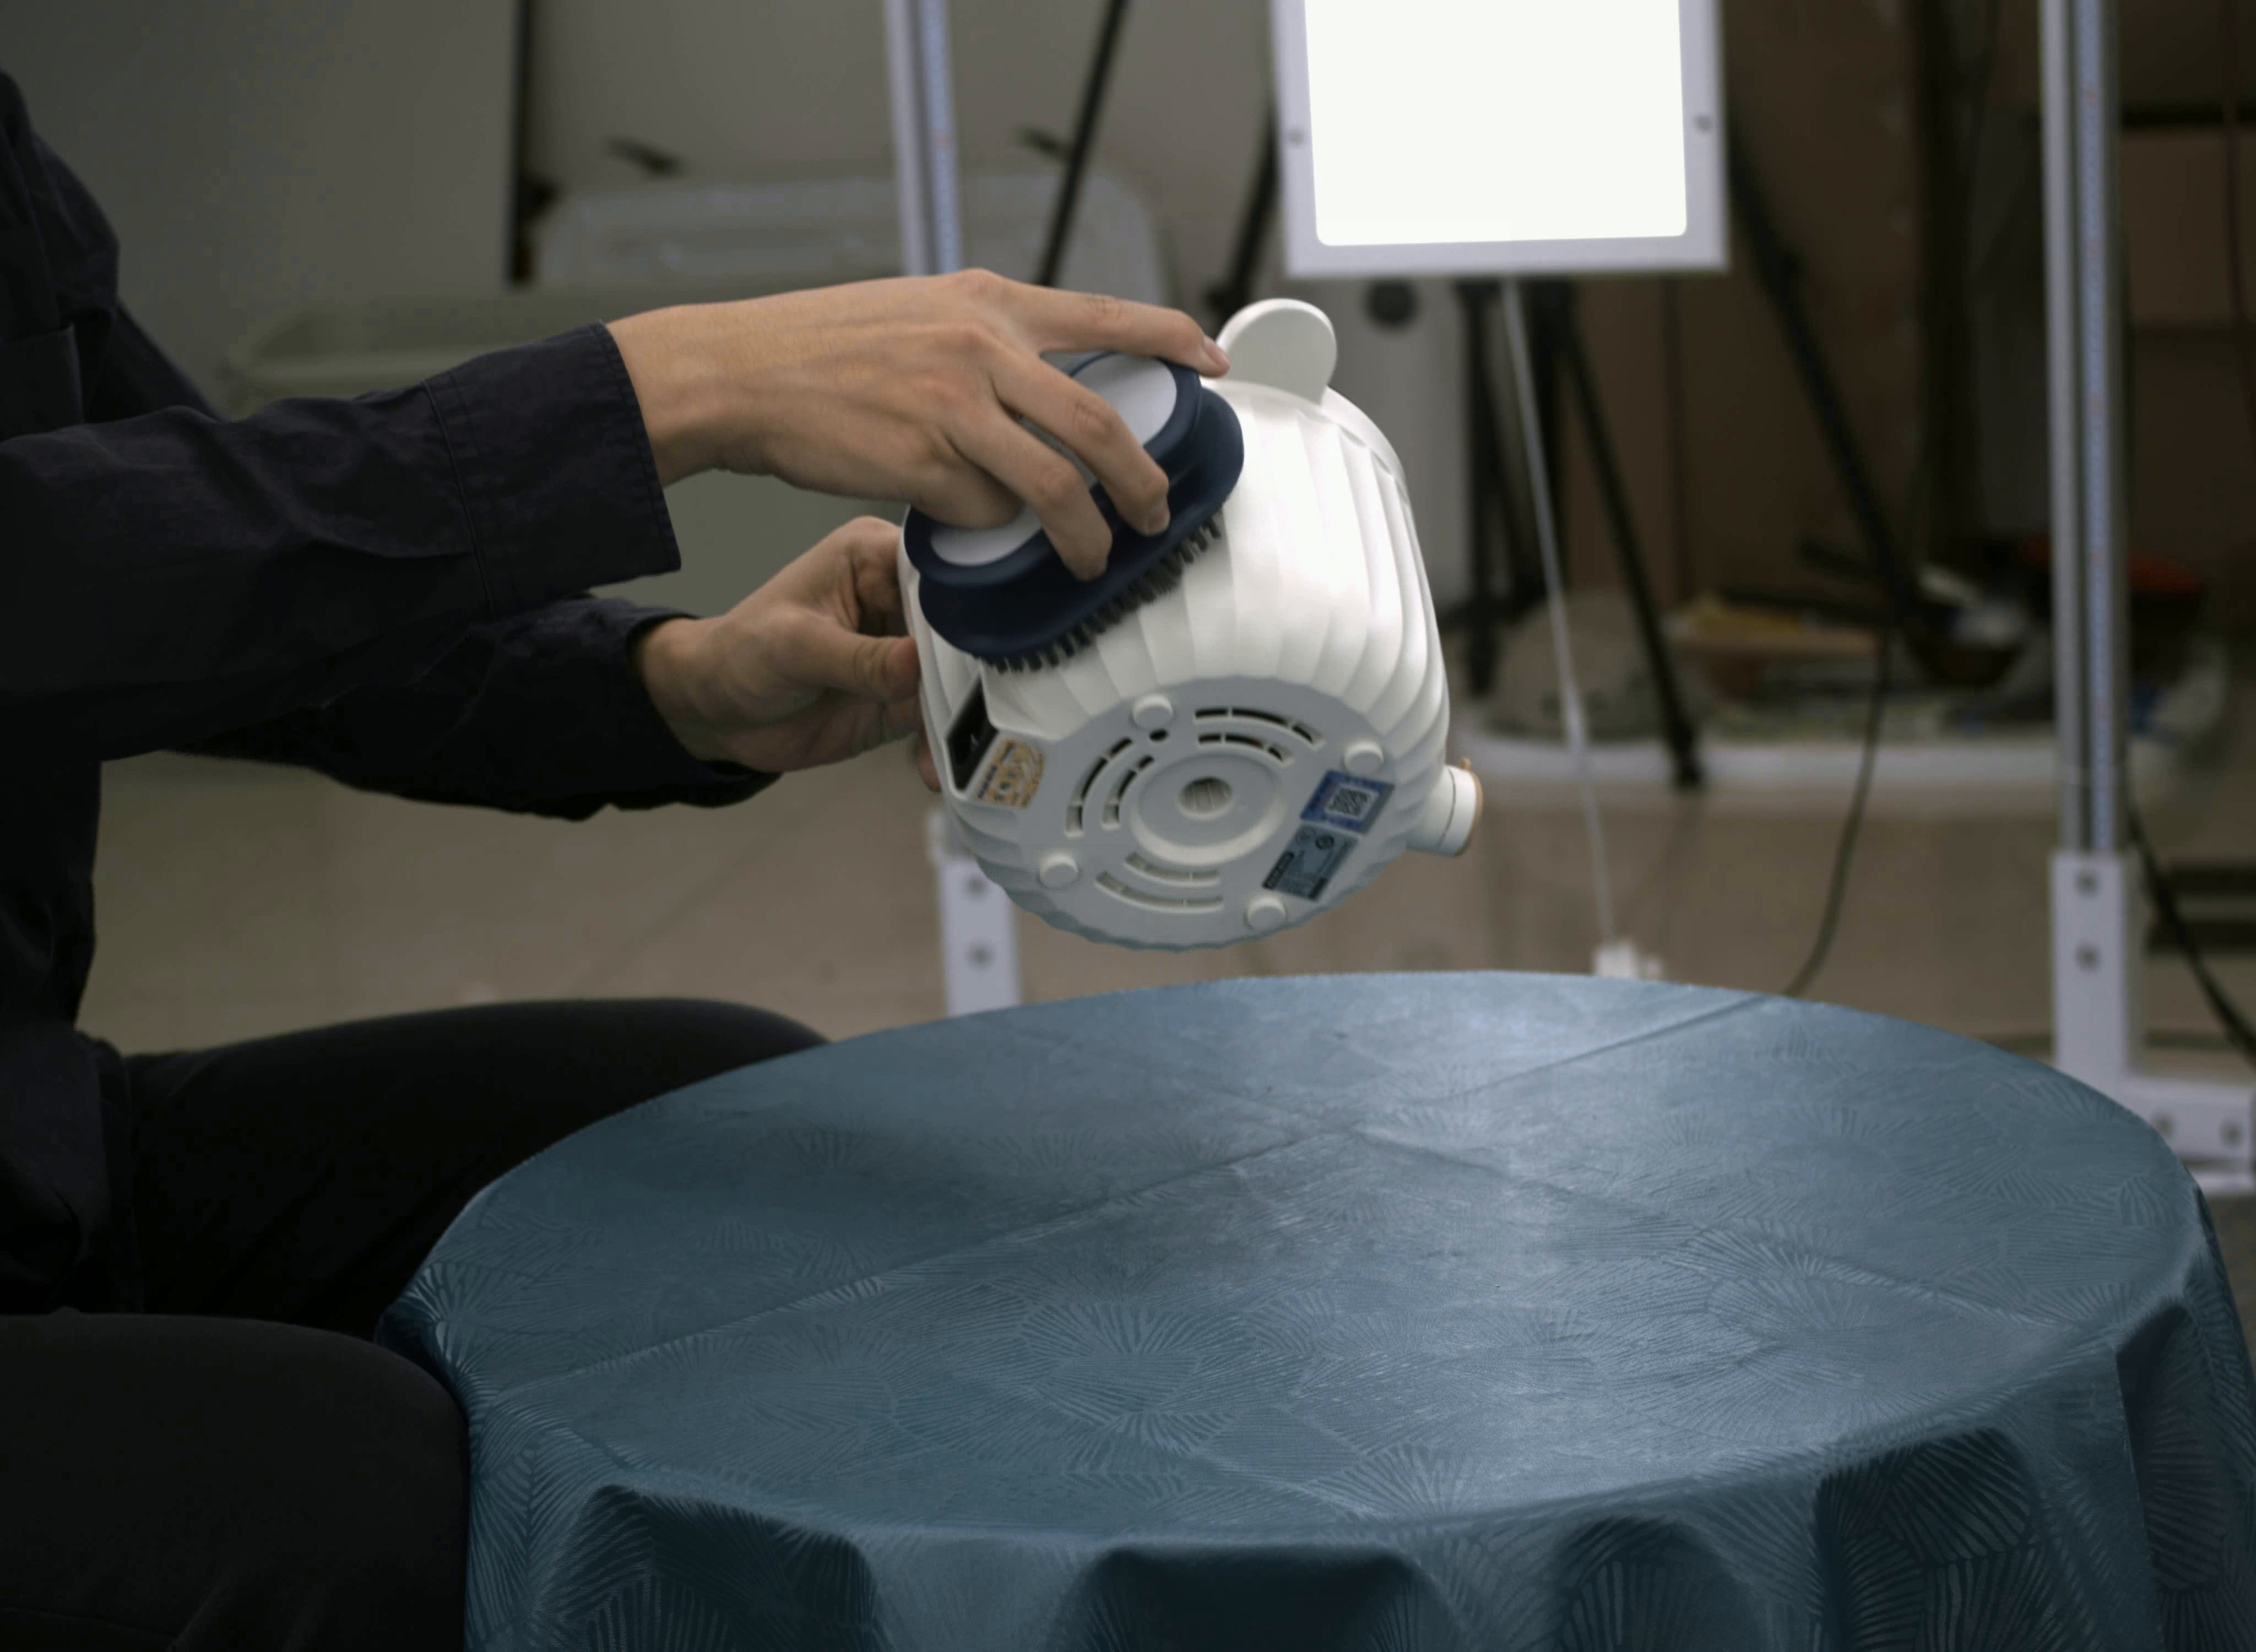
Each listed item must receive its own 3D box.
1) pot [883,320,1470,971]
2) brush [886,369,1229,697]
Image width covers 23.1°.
[{"bbox_3d":[0.020,-0.043,1.889,0.187,0.244,0.143,10,45,-24],"label":"pot"},{"bbox_3d":[-0.021,-0.092,1.771,0.121,0.061,0.068,-35,53,-6],"label":"brush"}]
